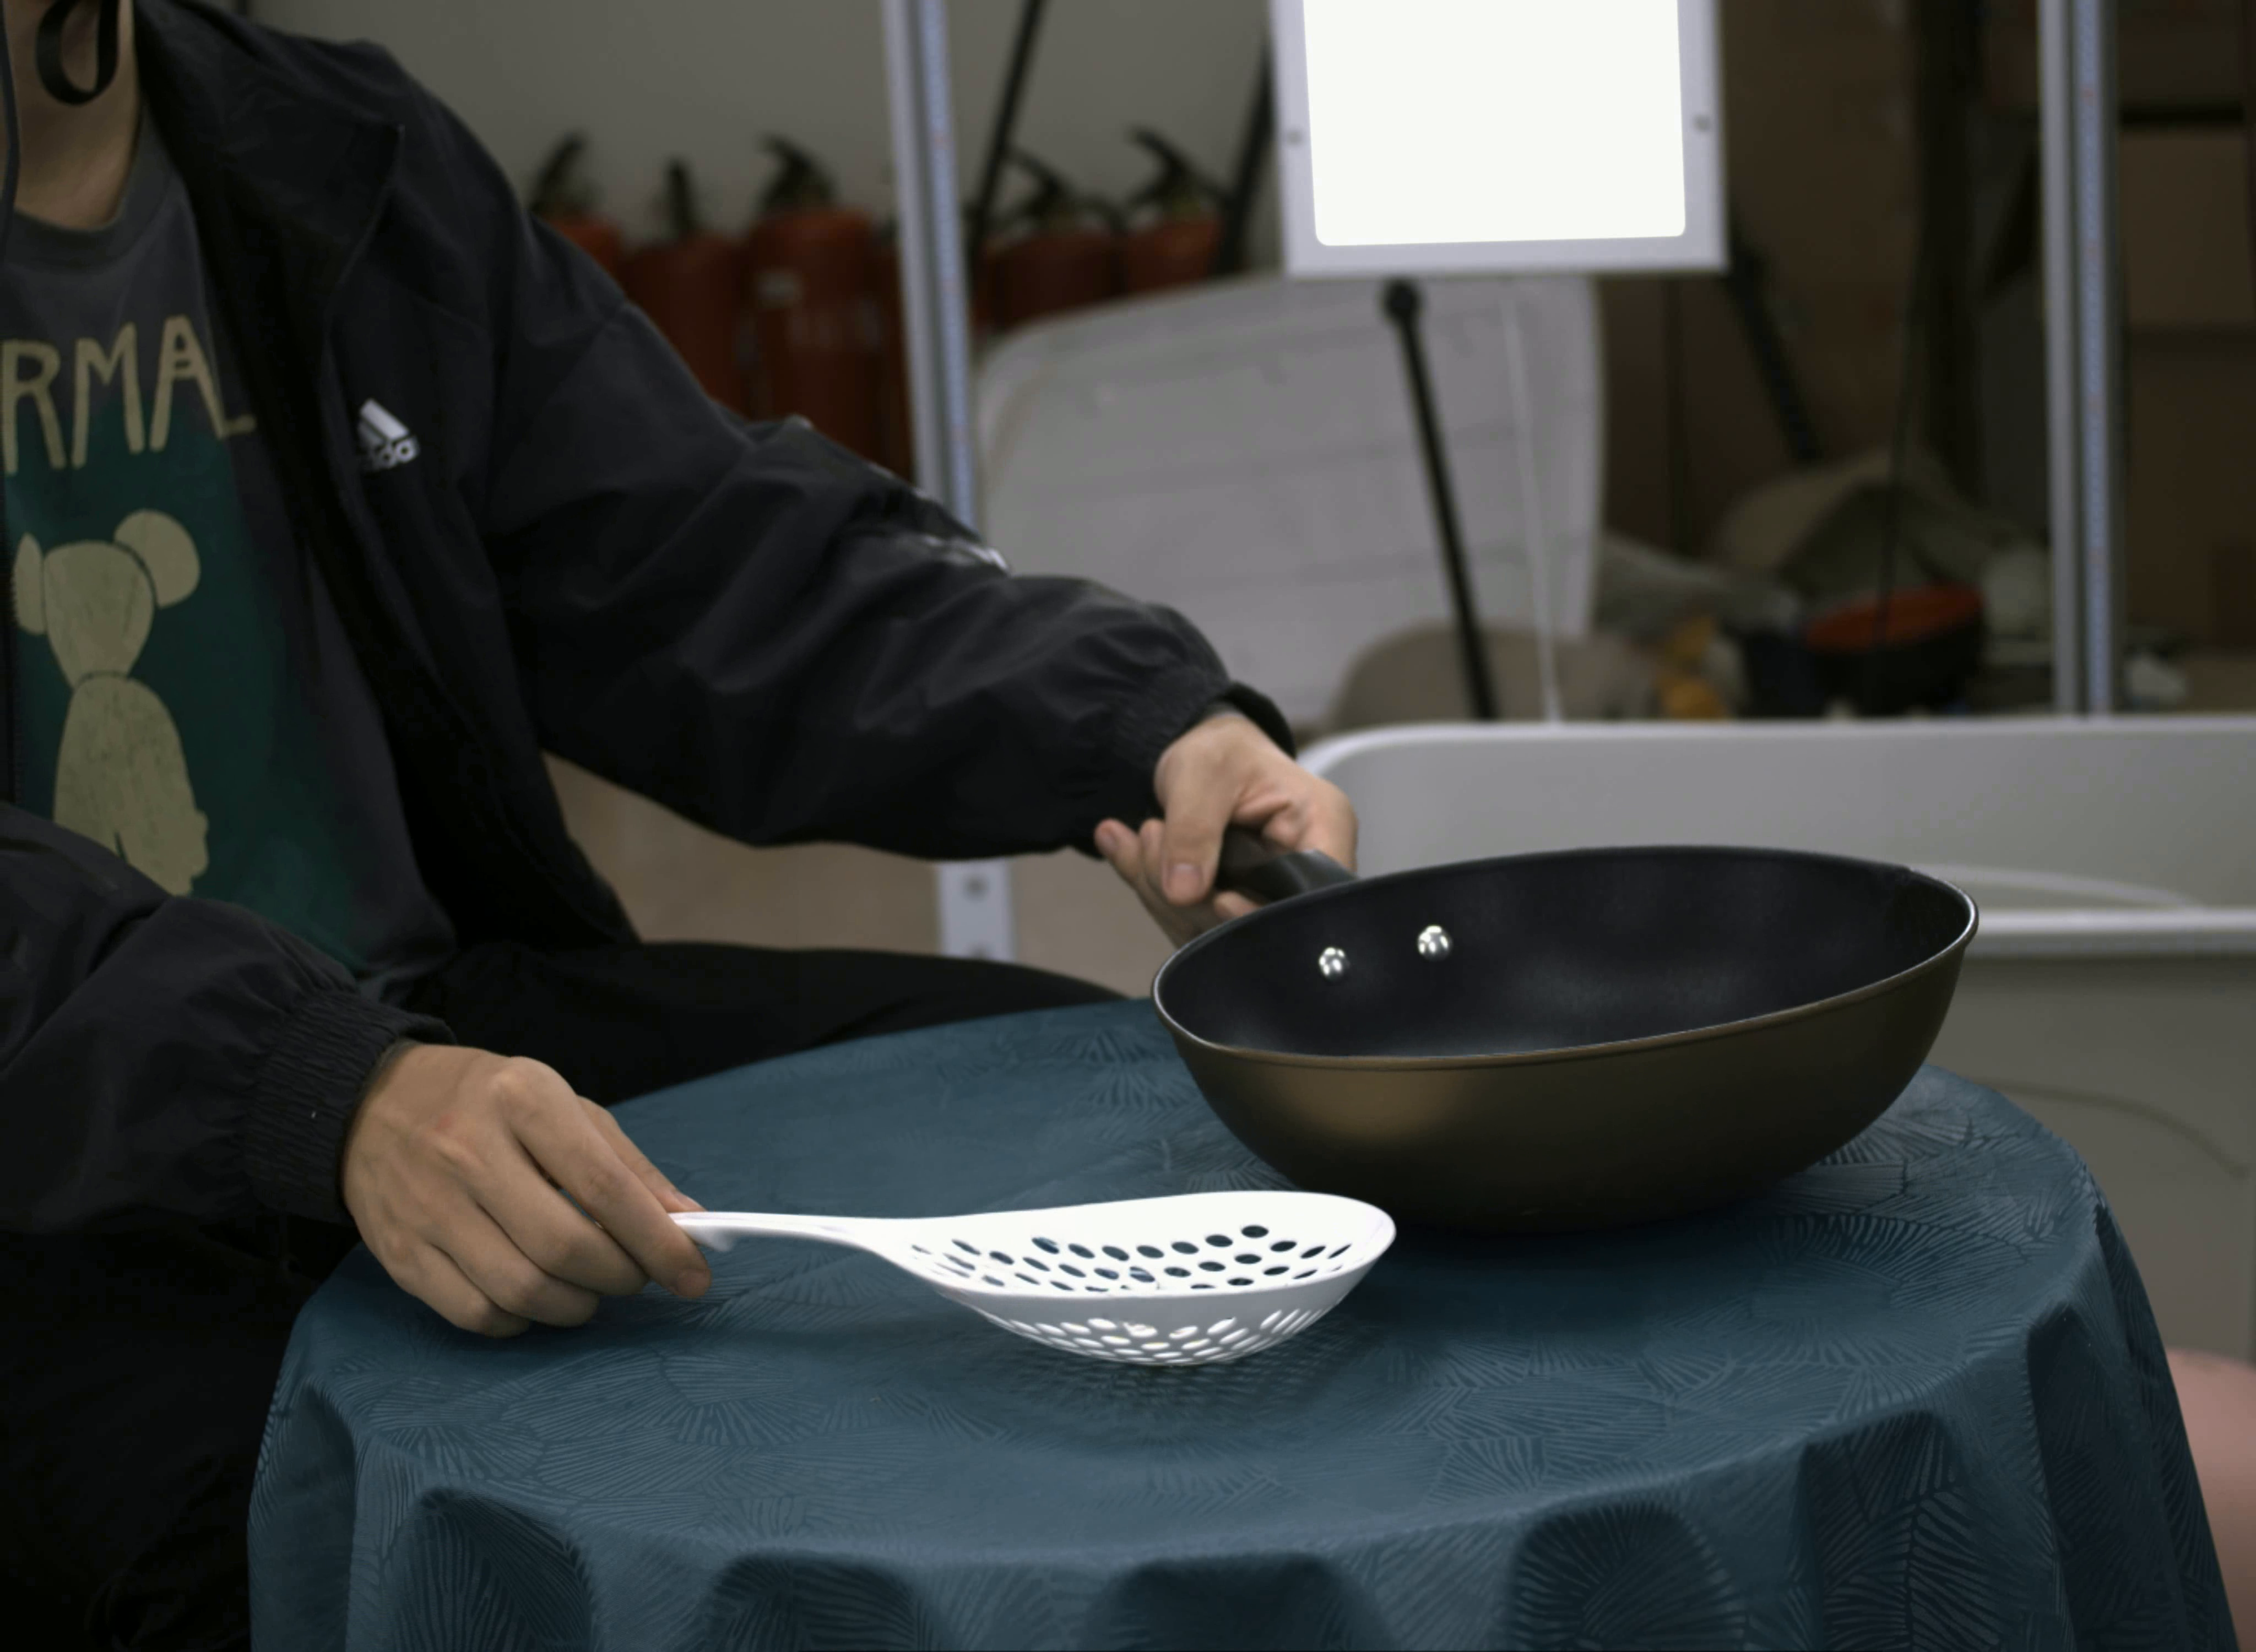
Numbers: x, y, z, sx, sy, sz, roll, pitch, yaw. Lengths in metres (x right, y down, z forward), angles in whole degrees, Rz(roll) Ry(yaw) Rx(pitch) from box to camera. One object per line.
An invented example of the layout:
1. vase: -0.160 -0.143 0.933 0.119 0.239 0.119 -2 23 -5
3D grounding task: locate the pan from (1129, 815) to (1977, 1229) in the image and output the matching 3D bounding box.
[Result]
1. pan: 0.109 0.064 1.942 0.282 0.087 0.471 -12 13 -24

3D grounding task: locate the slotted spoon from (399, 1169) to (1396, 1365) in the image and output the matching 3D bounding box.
1. slotted spoon: -0.081 0.141 1.771 0.354 0.050 0.134 3 13 26
